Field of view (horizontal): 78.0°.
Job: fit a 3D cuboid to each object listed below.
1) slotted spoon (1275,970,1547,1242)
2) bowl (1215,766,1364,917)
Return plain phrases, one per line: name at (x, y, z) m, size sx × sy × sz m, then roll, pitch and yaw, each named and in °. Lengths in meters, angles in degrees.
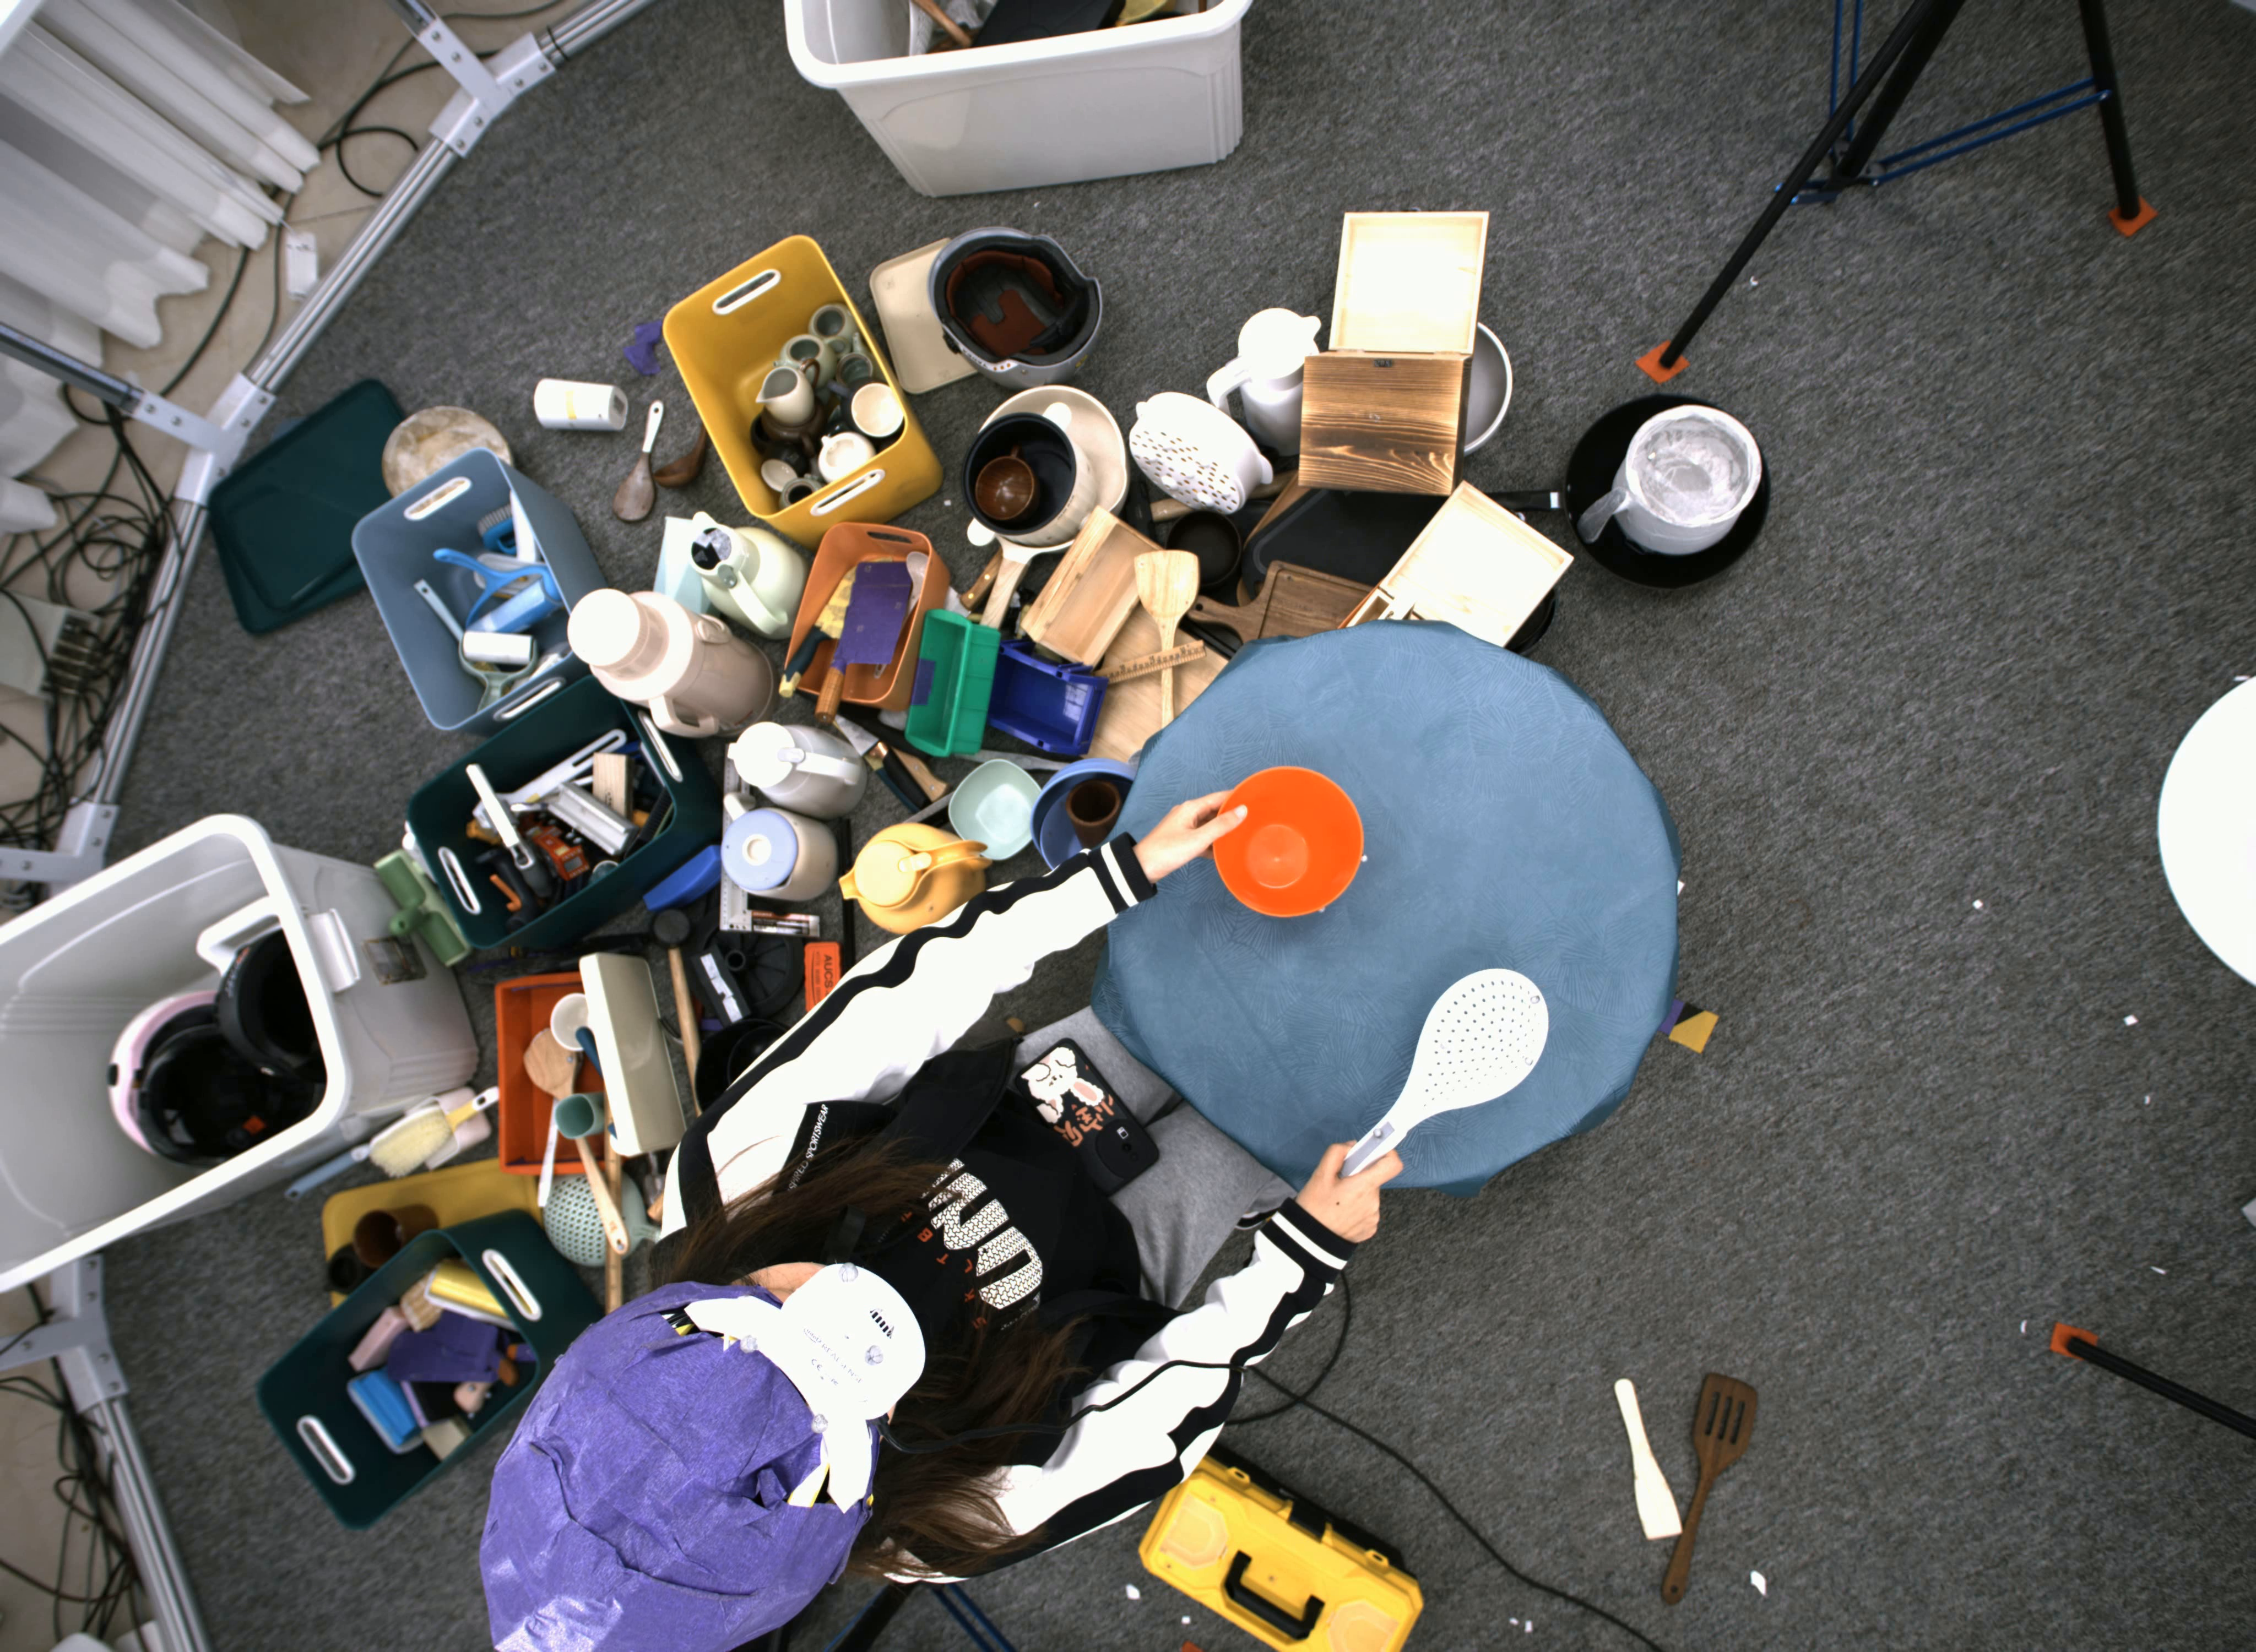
slotted spoon at (0.271, 0.279, 1.344) m, size 0.352 × 0.133 × 0.046 m, roll -43°, pitch 125°, yaw 9°
bowl at (0.157, 0.017, 1.396) m, size 0.148 × 0.104 × 0.148 m, roll 0°, pitch 90°, yaw -1°
